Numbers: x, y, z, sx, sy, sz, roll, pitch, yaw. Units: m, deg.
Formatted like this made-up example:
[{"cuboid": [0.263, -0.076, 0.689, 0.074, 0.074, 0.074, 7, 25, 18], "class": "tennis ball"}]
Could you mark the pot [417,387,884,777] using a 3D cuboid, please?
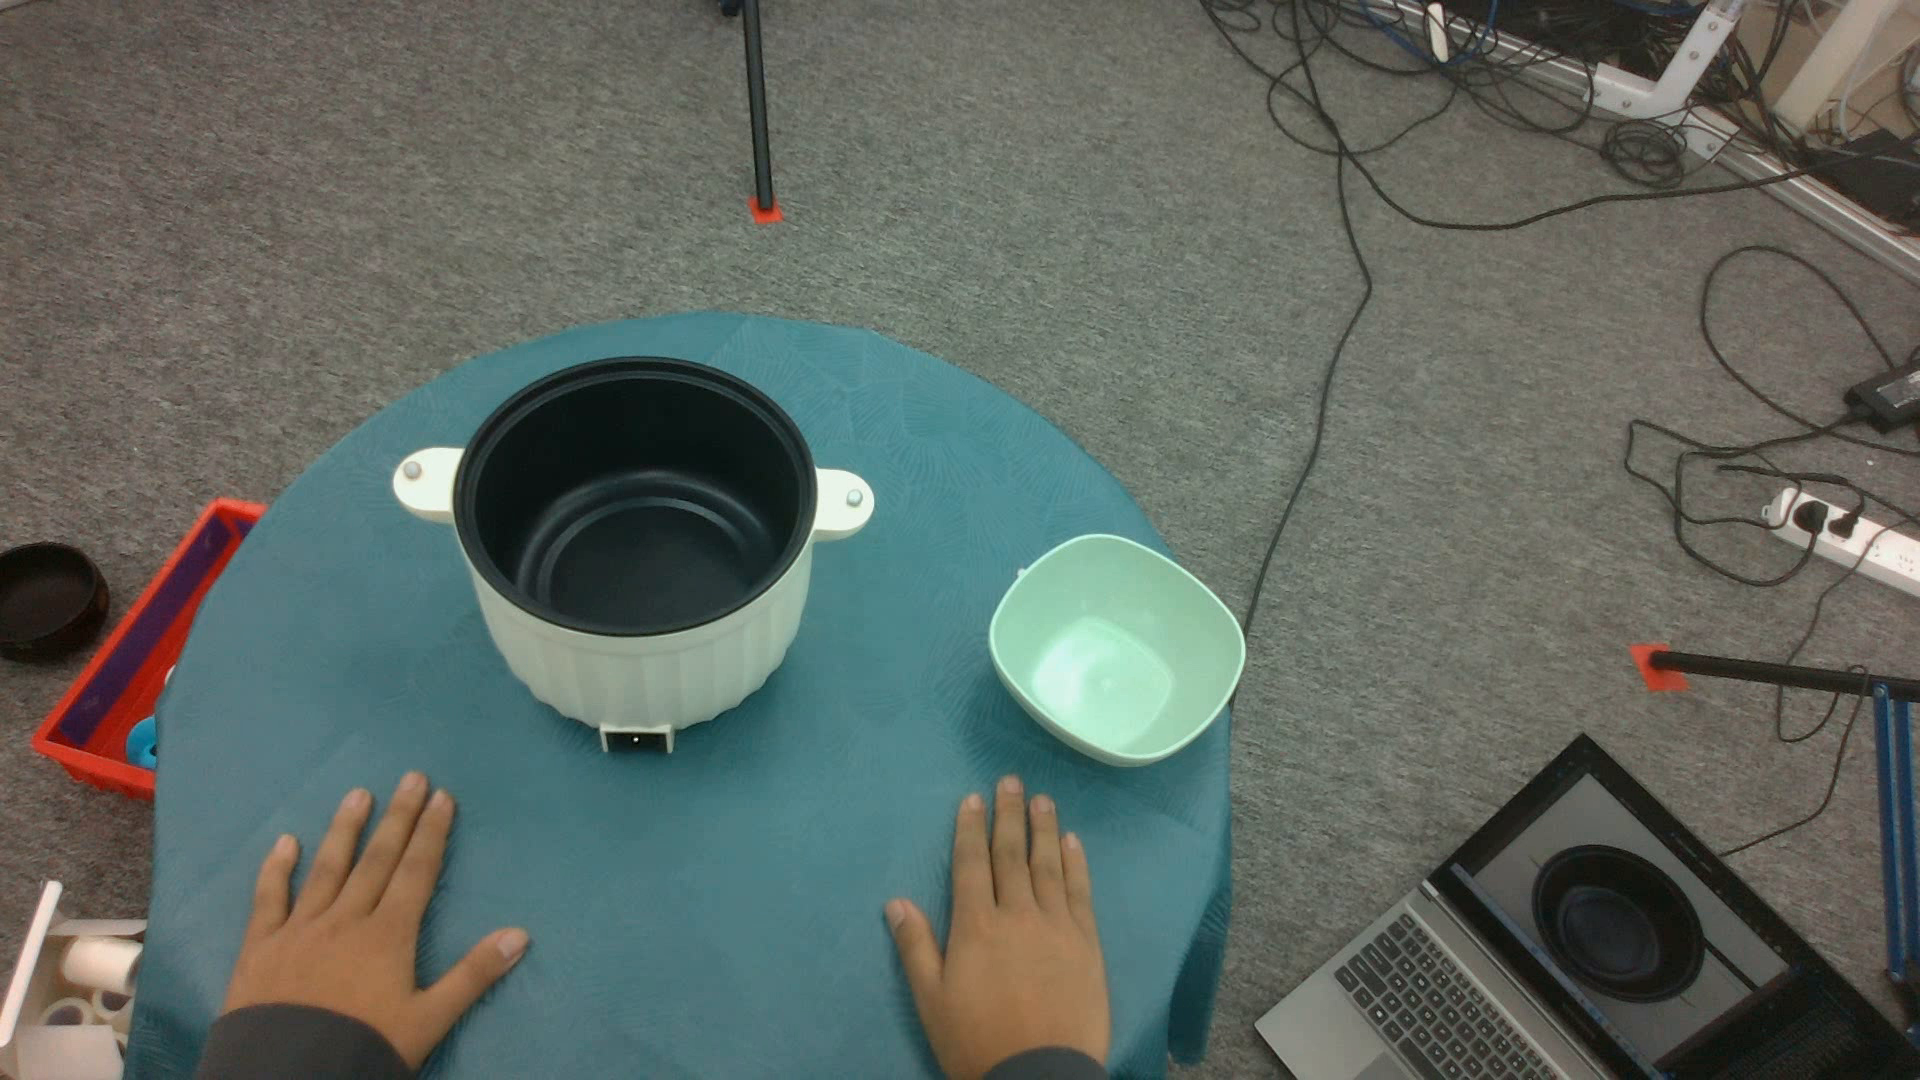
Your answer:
[{"cuboid": [-0.168, 0.021, 0.778, 0.240, 0.142, 0.191, -1, 56, -9], "class": "pot"}]

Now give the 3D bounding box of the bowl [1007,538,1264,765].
[{"cuboid": [0.101, 0.075, 0.819, 0.151, 0.058, 0.152, 2, 52, -3], "class": "bowl"}]
